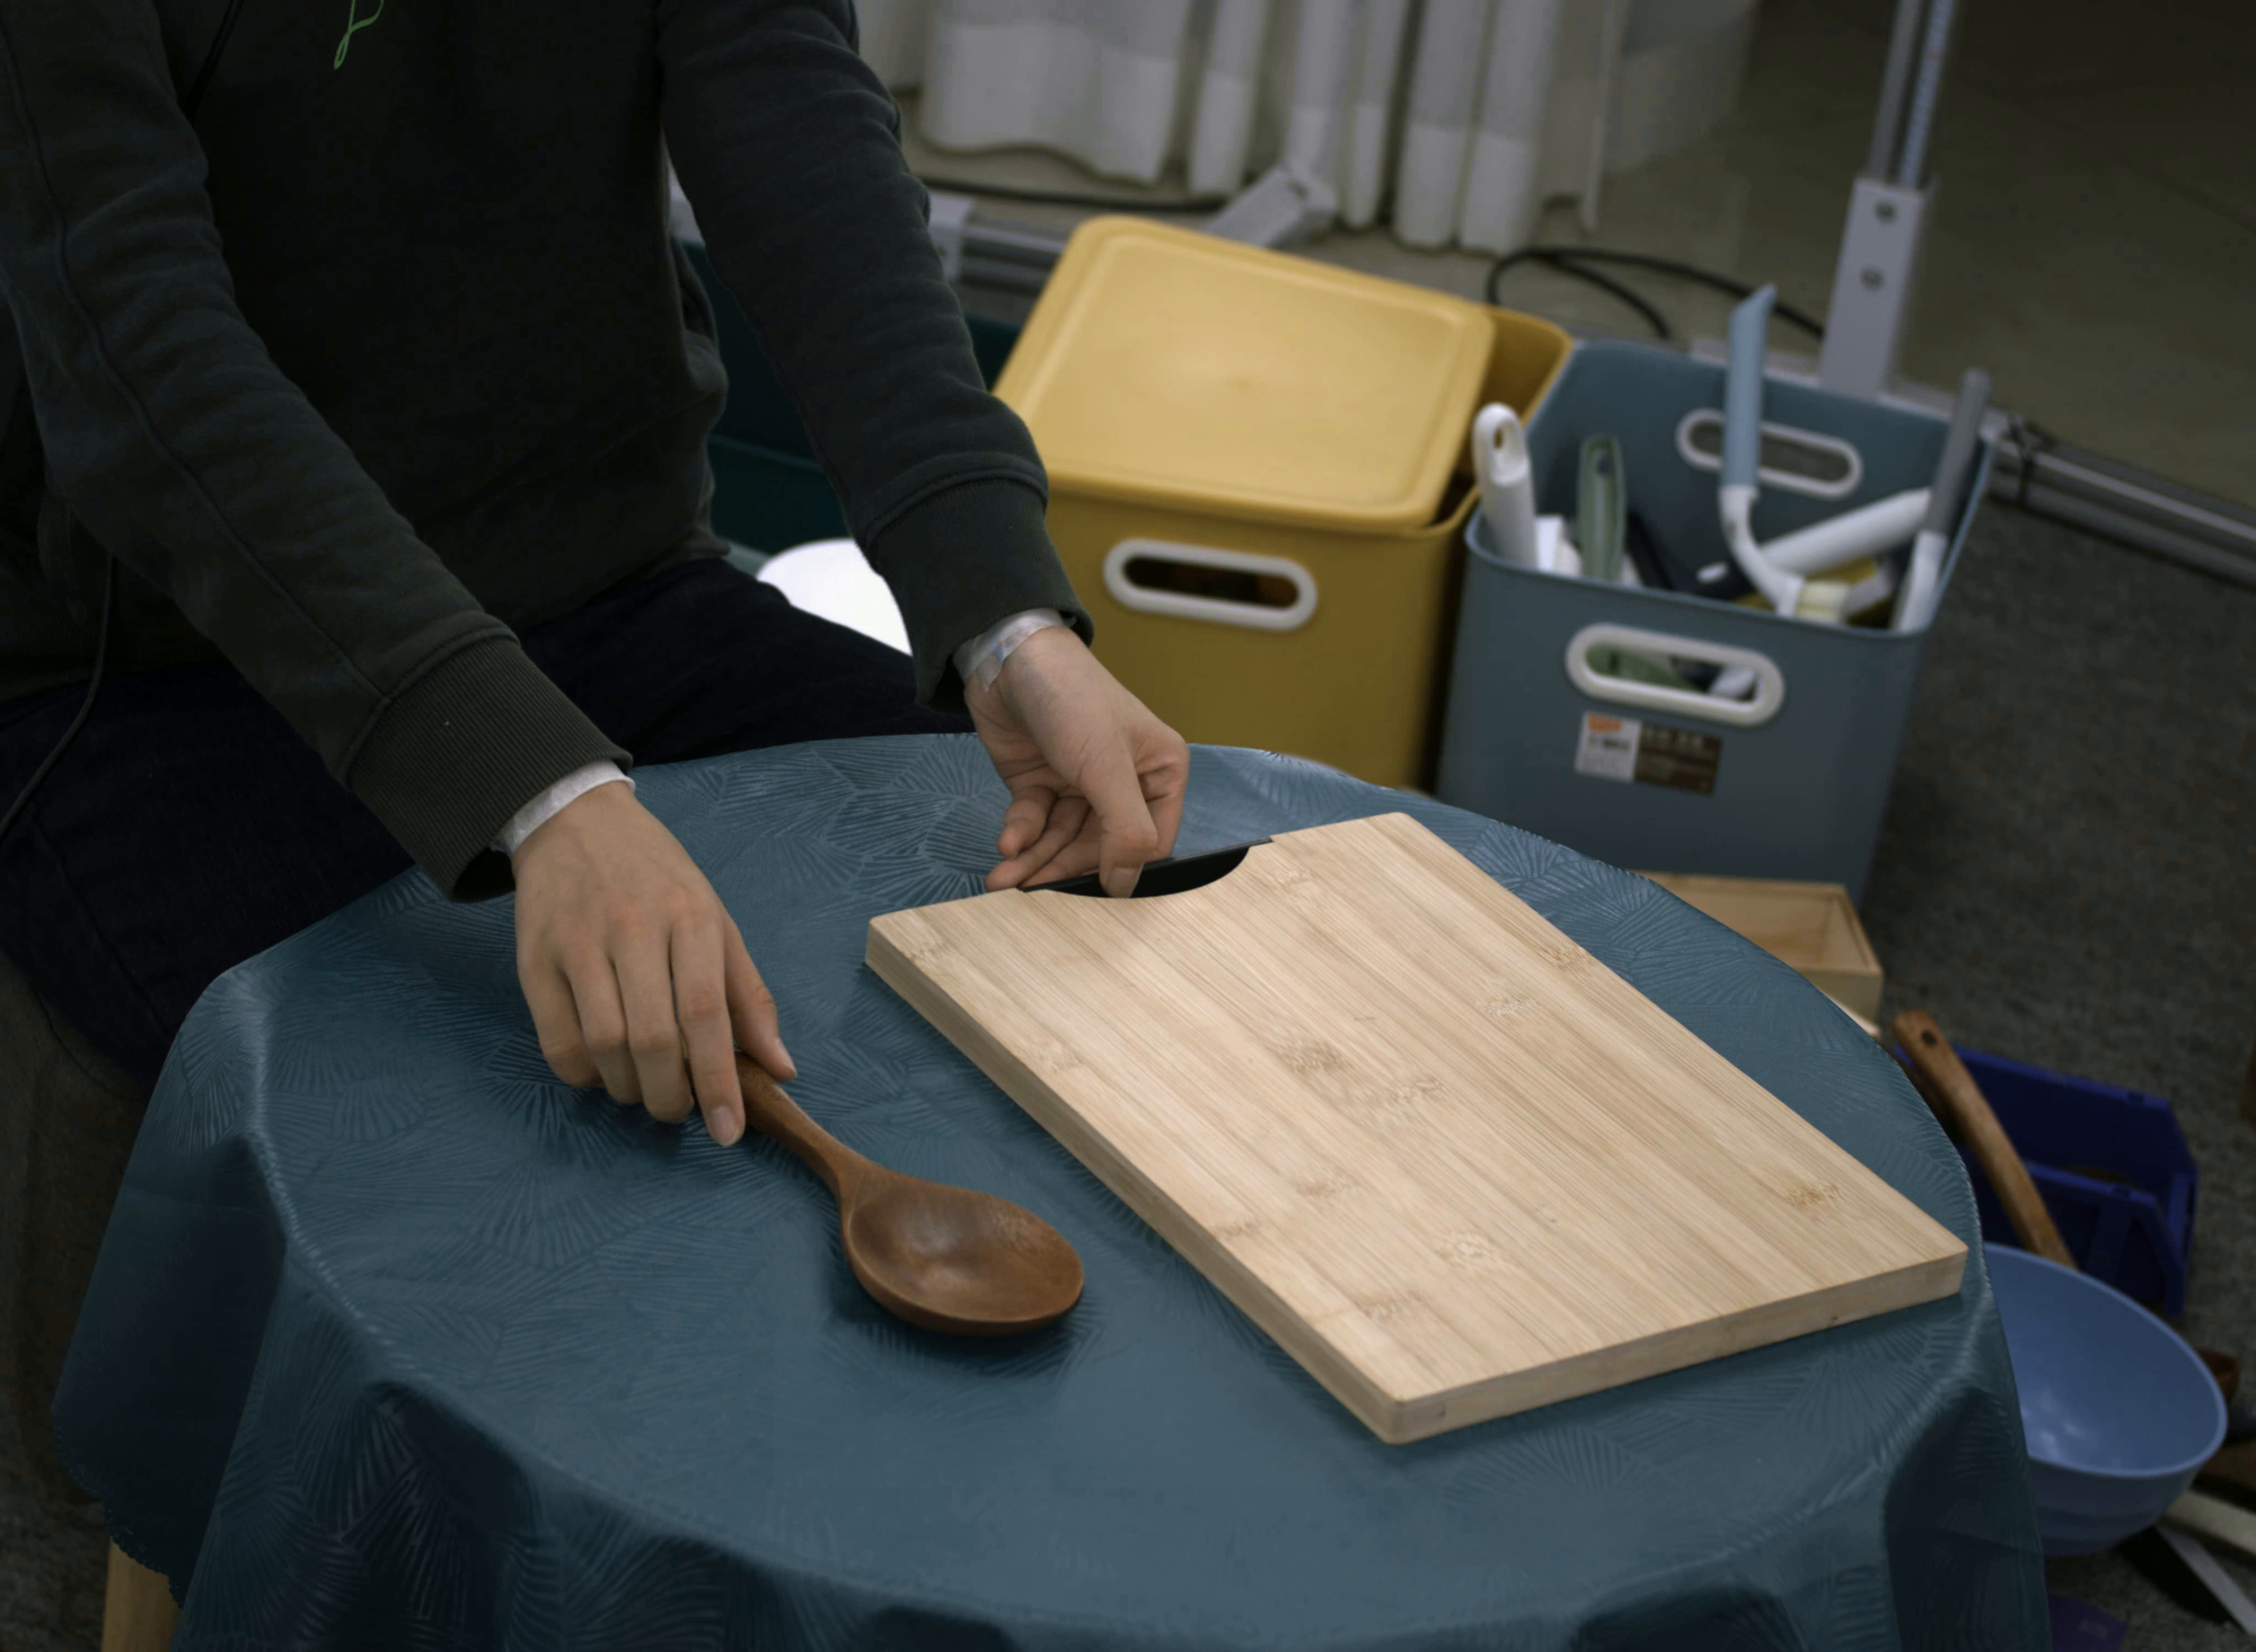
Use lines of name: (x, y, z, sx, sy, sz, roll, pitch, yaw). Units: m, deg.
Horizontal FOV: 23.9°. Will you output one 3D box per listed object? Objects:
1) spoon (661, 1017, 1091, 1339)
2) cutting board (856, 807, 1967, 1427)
spoon: (-0.091, 0.117, 1.773, 0.075, 0.017, 0.218, -15, 34, -34)
cutting board: (0.092, 0.094, 1.862, 0.249, 0.023, 0.352, -11, 31, -32)
